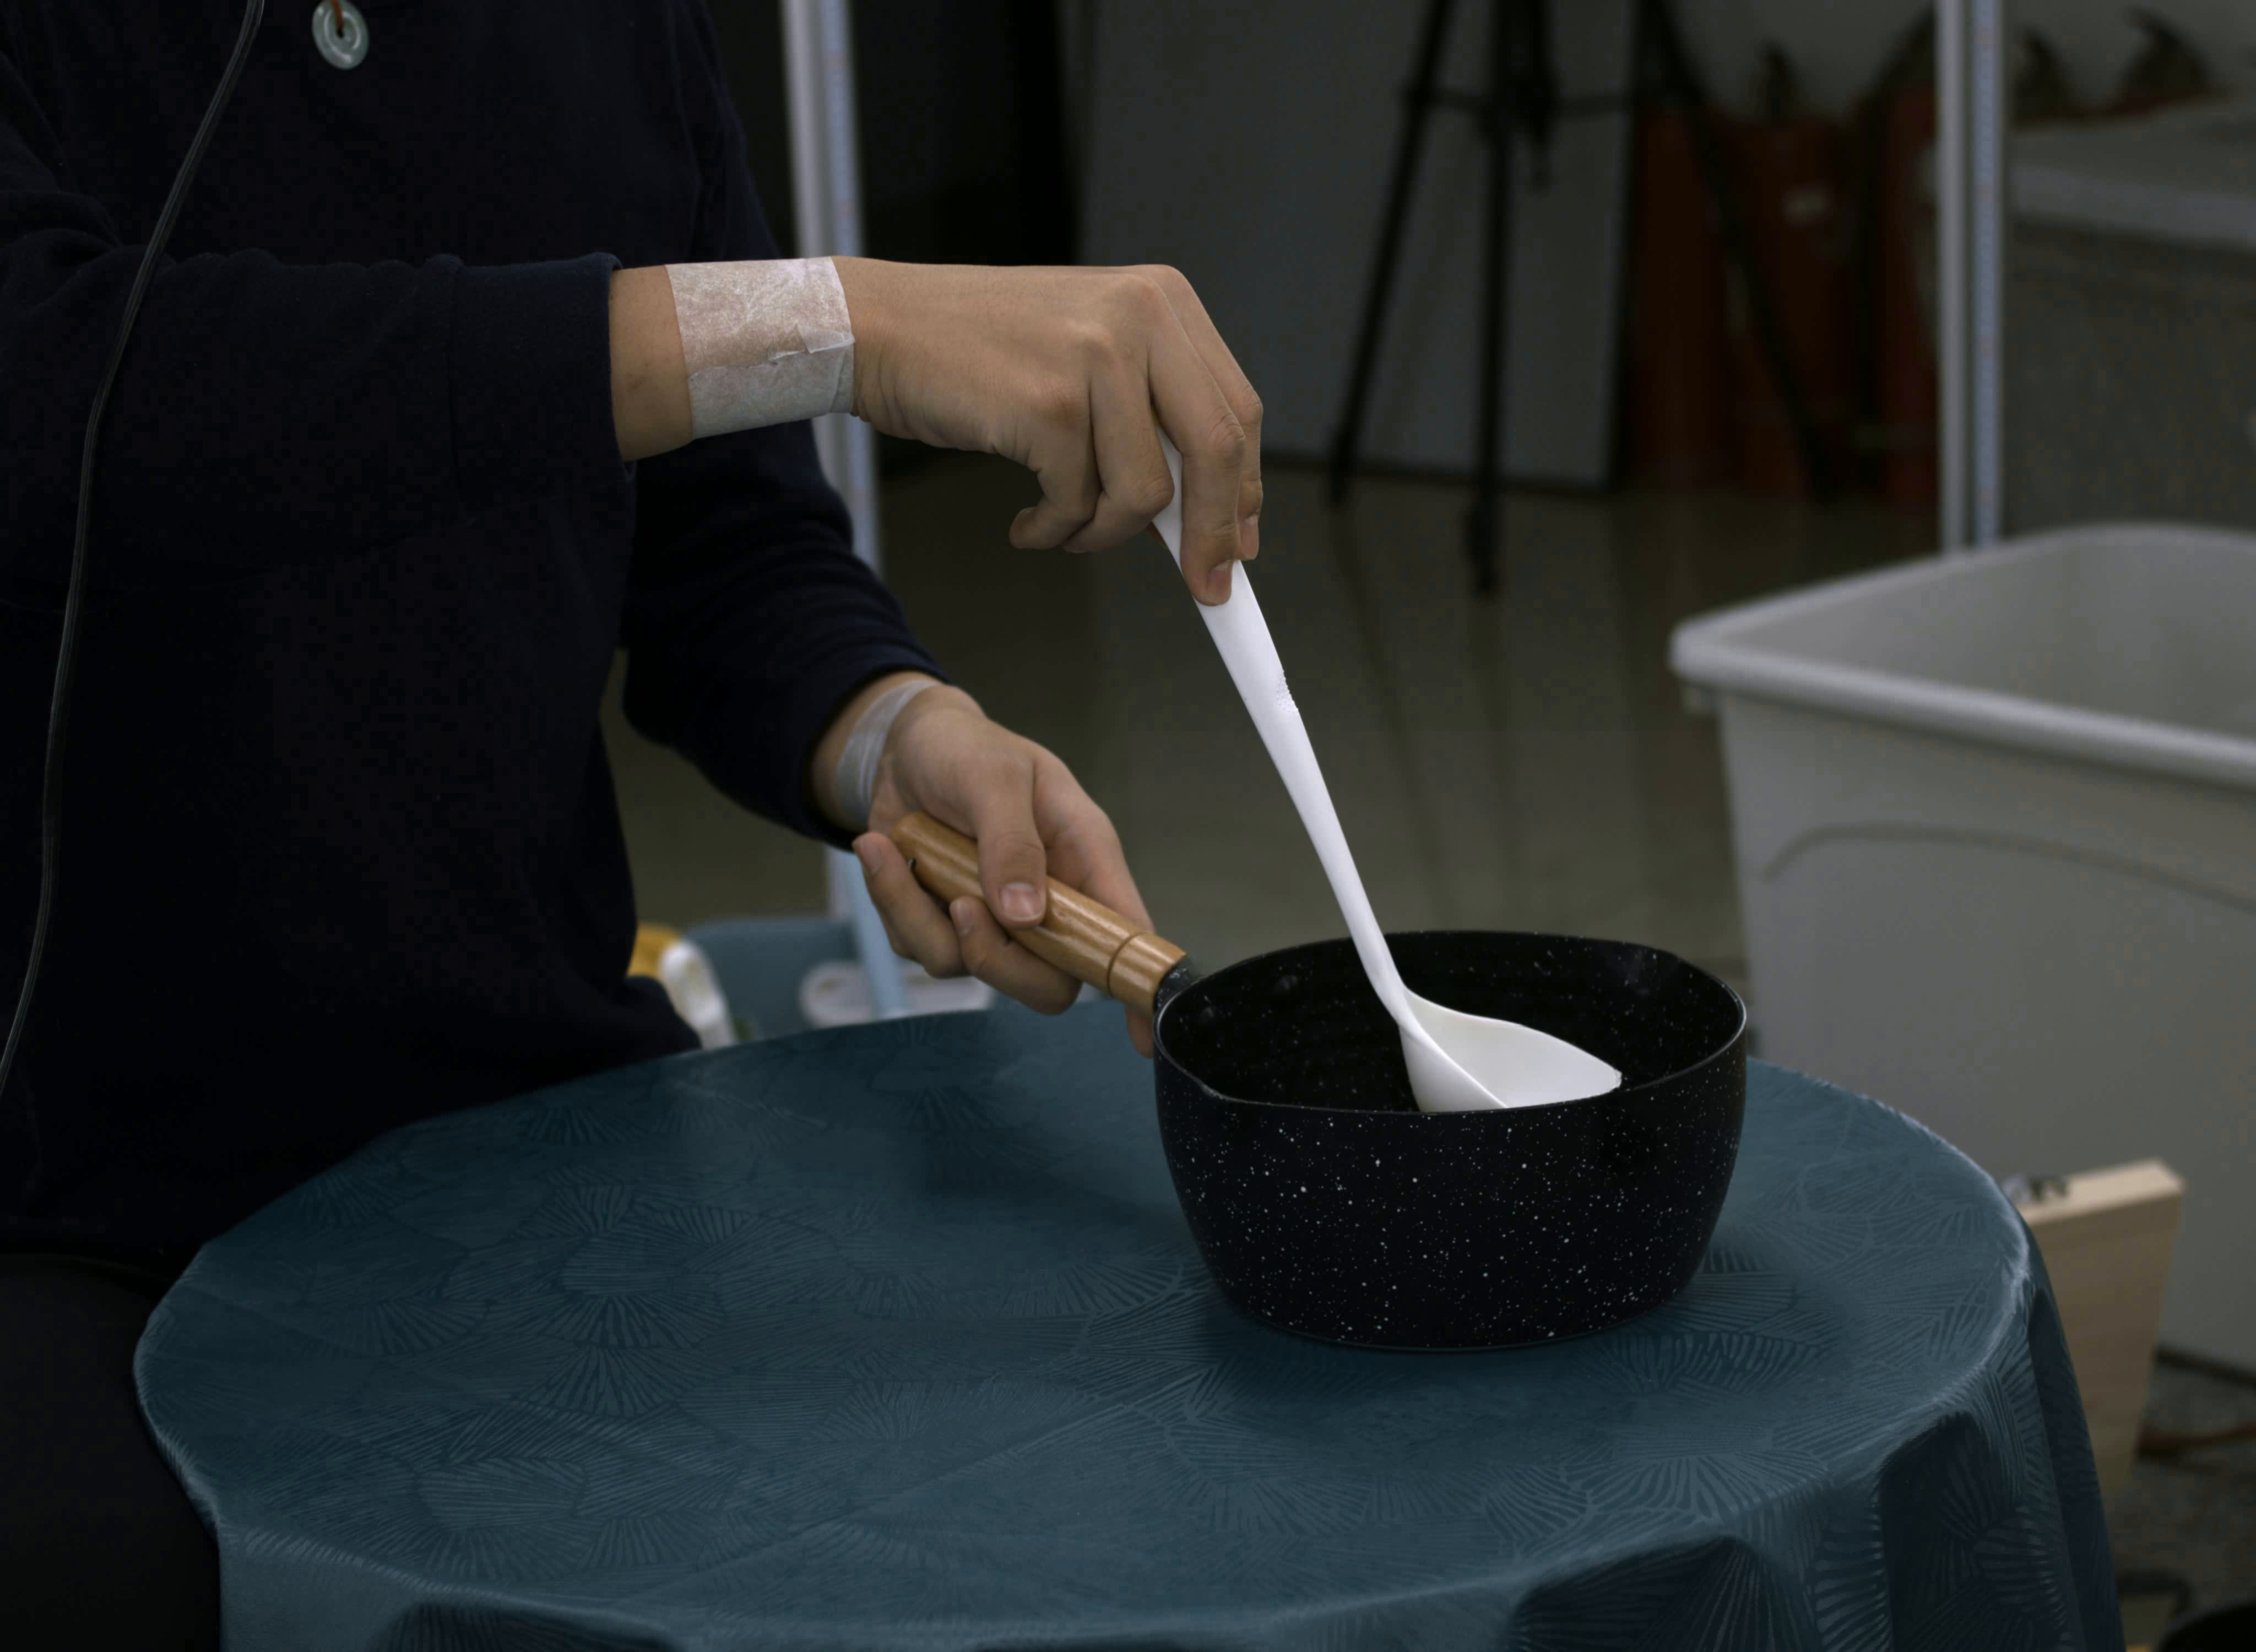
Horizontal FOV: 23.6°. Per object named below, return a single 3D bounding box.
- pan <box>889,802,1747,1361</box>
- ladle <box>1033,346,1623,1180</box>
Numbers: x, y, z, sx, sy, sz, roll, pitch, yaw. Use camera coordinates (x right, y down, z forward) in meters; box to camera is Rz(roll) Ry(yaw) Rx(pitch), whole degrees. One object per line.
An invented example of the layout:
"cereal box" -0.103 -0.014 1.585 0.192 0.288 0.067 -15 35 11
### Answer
"pan" 0.043 0.074 1.709 0.203 0.109 0.346 -18 22 -42
"ladle" 0.069 -0.016 1.613 0.070 0.294 0.089 -25 7 25
